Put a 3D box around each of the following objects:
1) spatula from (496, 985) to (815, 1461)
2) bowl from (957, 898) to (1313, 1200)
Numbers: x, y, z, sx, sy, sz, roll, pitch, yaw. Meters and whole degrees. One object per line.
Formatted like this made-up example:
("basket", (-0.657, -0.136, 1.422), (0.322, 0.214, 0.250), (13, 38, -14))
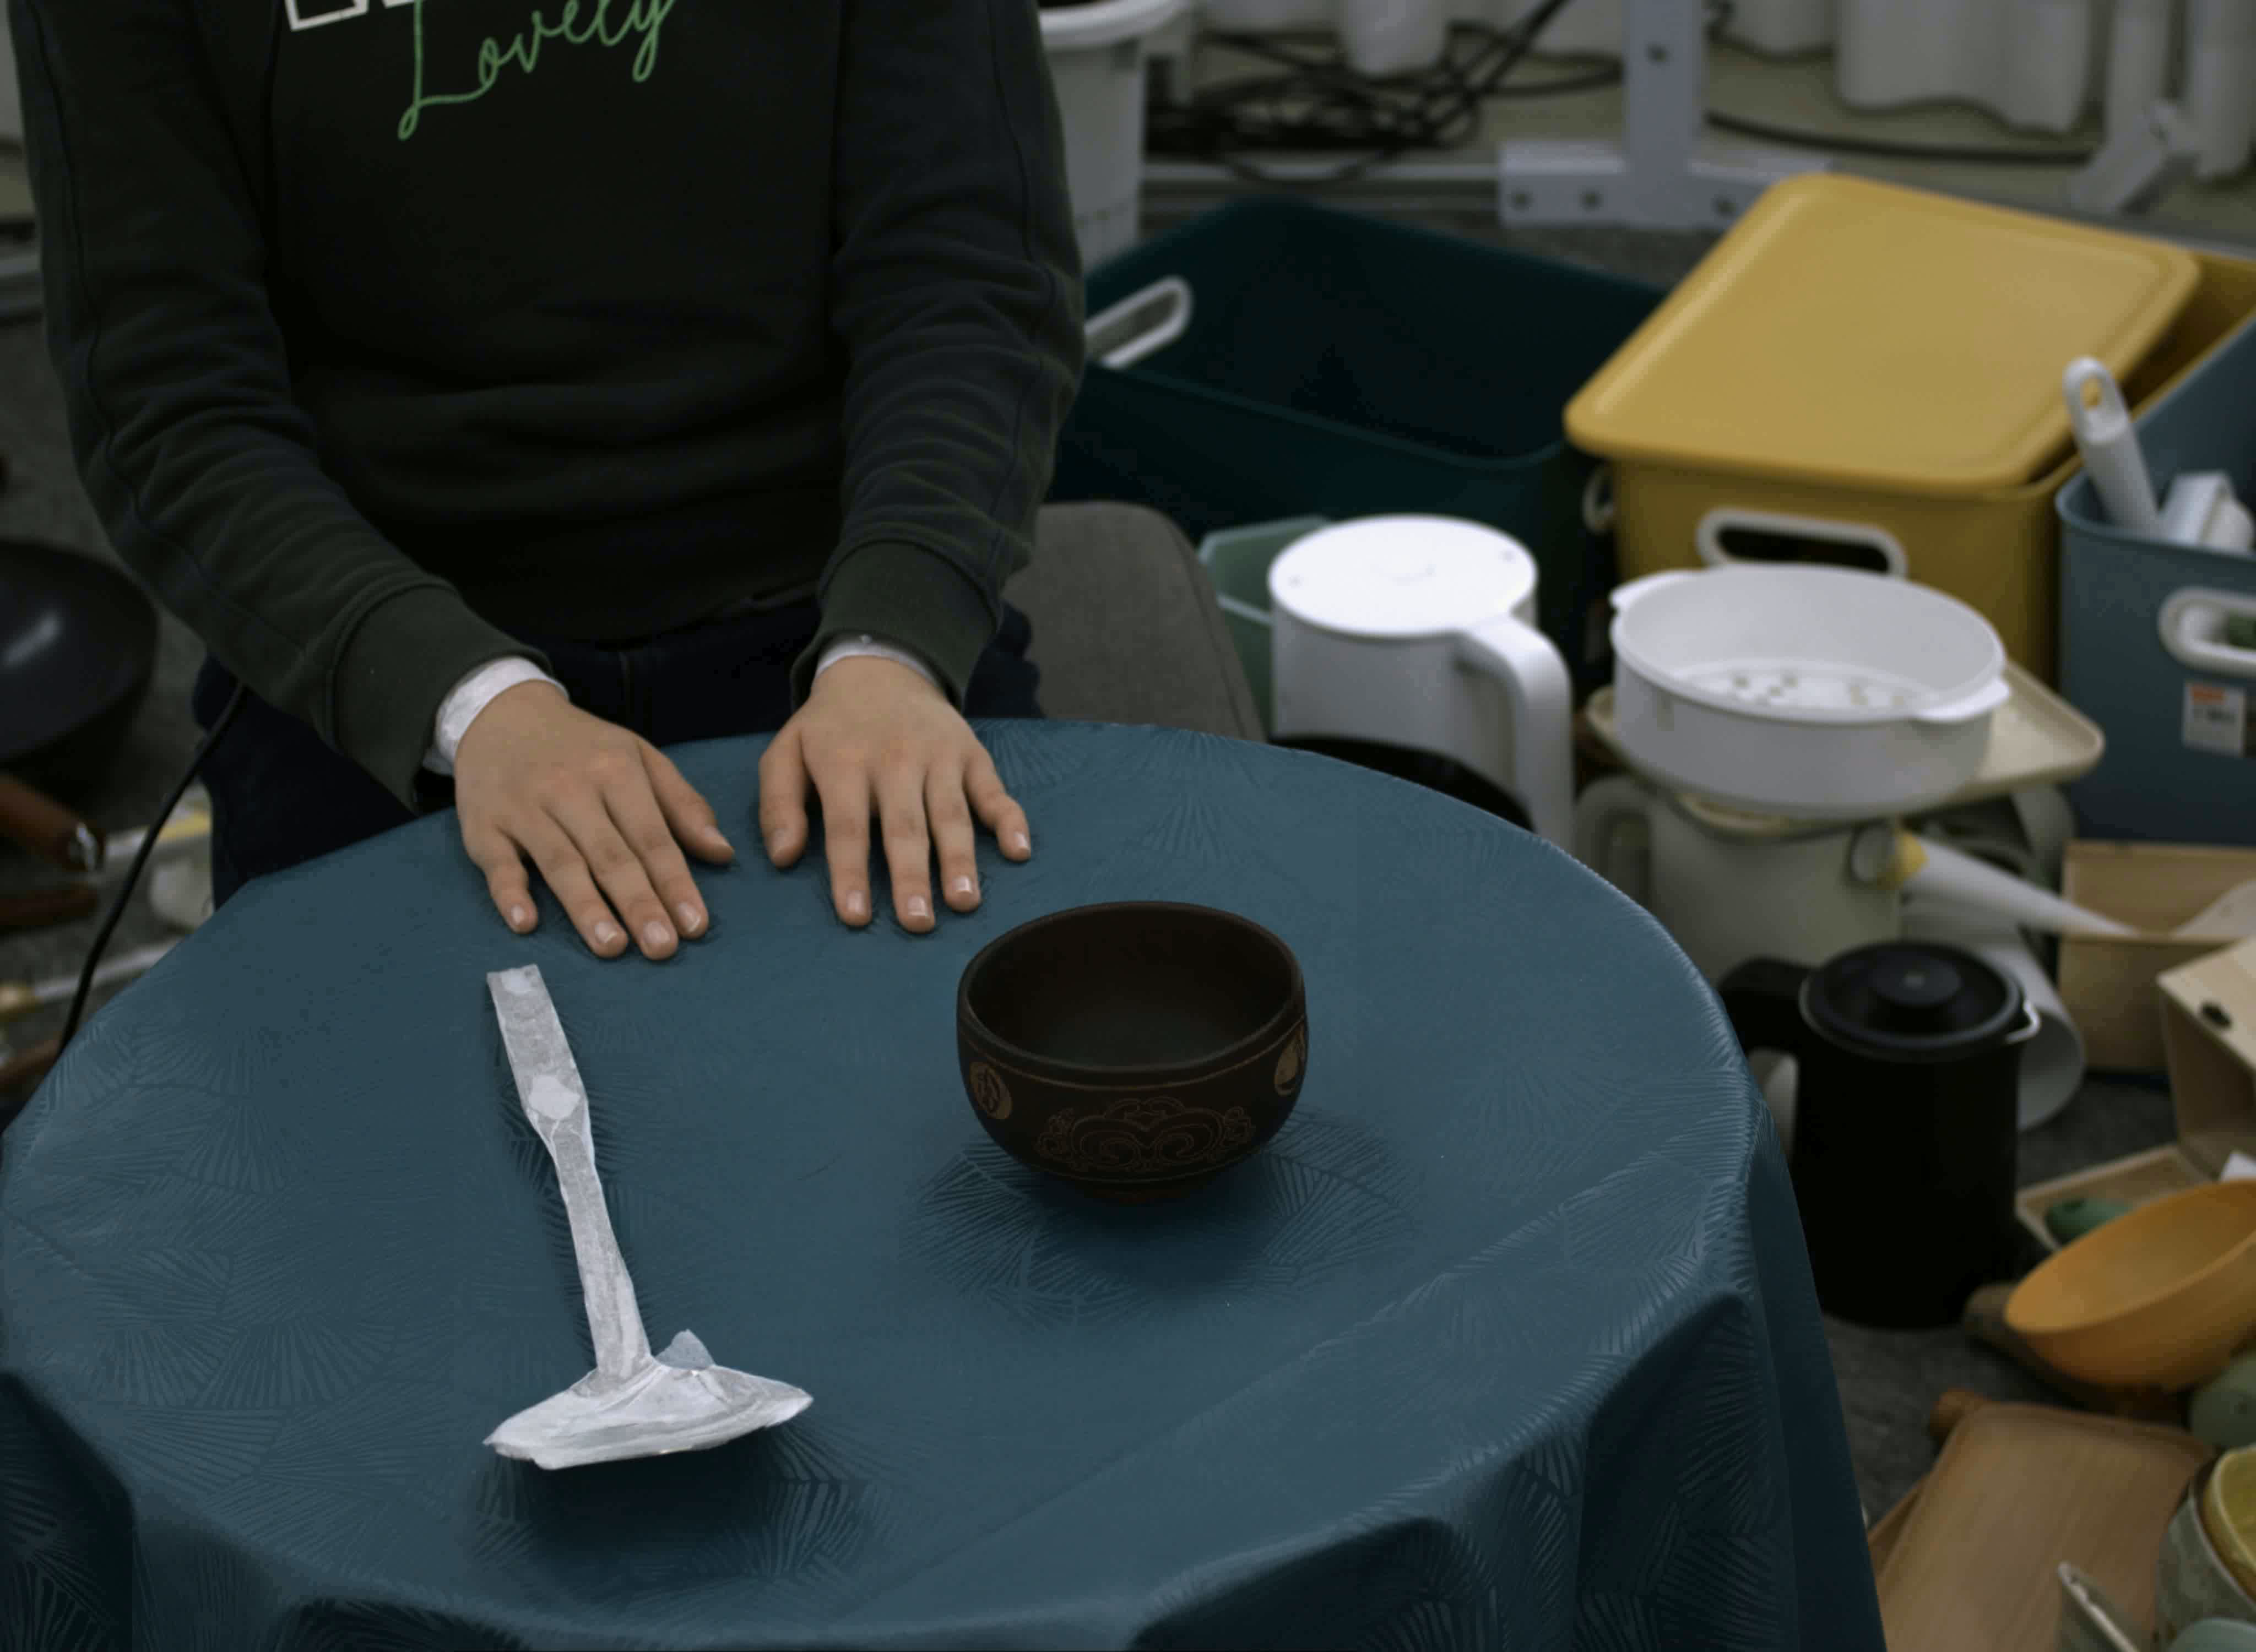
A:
("spatula", (-0.174, 0.122, 1.837), (0.098, 0.044, 0.369), (-10, 28, -8))
("bowl", (0.003, 0.080, 1.863), (0.117, 0.069, 0.120), (-1, 26, 1))
